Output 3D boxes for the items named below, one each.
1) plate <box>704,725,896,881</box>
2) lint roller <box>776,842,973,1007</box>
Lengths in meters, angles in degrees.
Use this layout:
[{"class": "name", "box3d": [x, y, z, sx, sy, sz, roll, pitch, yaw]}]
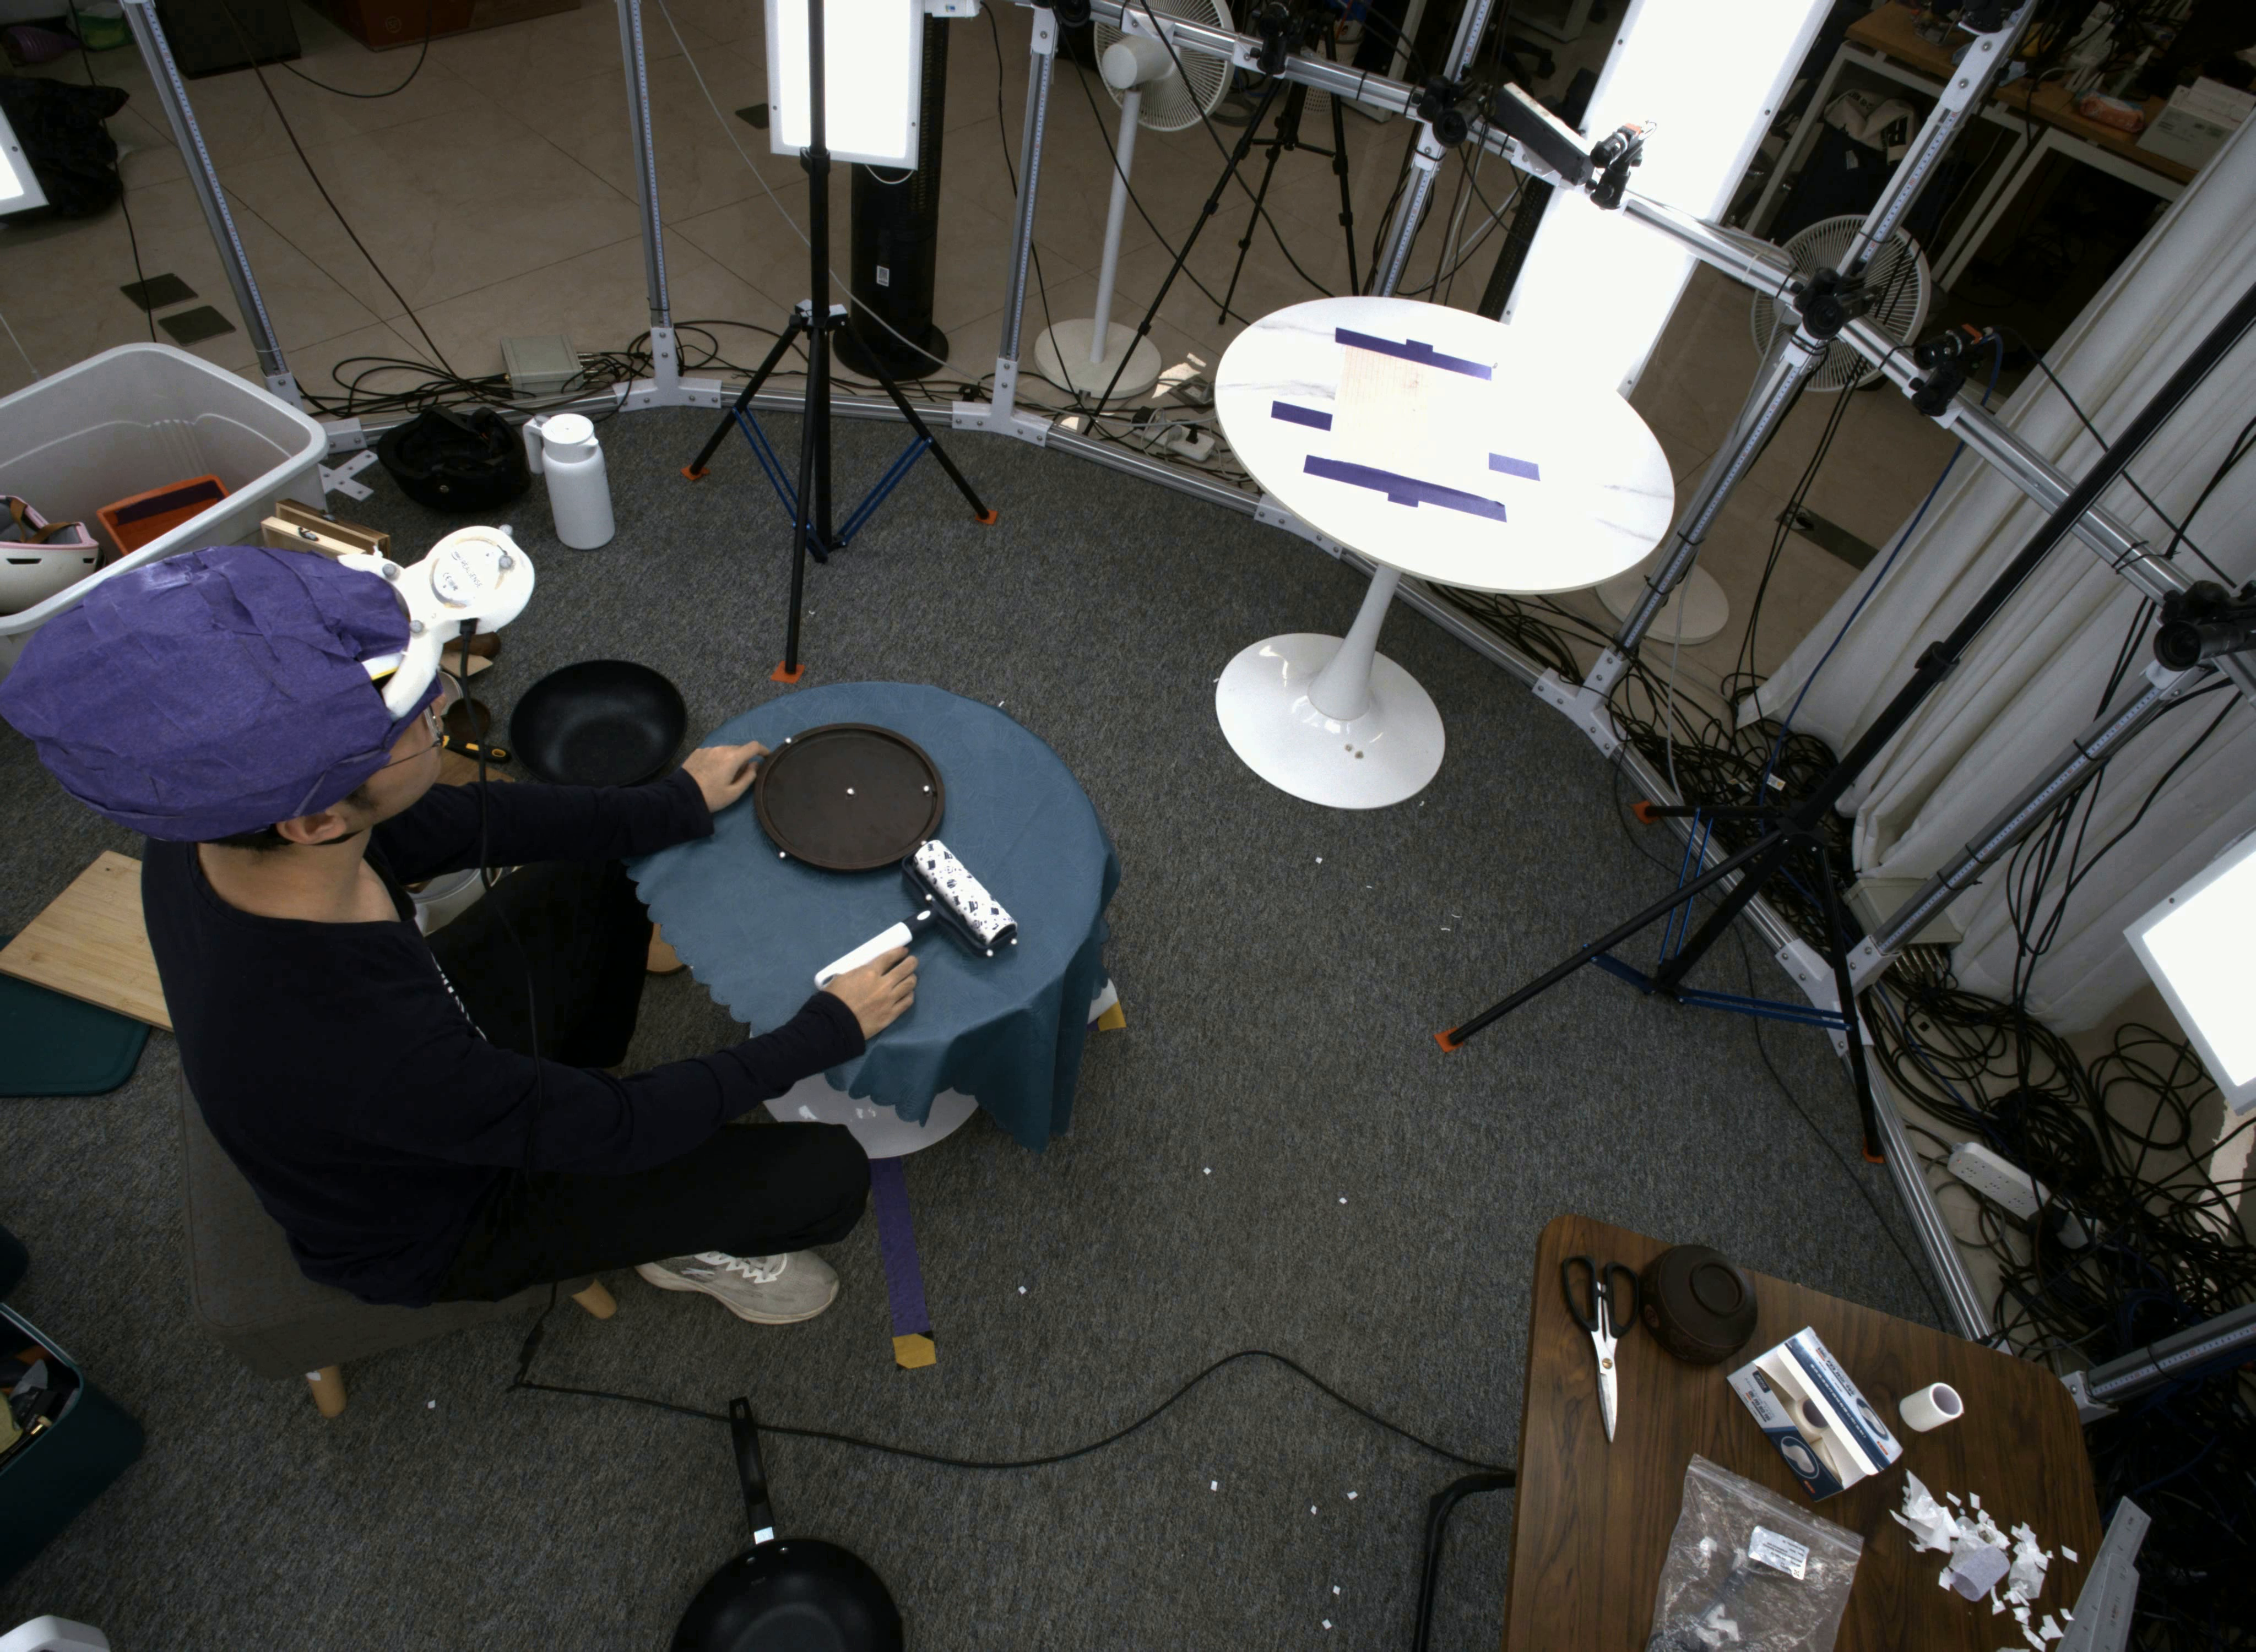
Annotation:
[{"class": "plate", "box3d": [-0.439, -0.033, 1.742, 0.254, 0.029, 0.250, 7, 54, -7]}, {"class": "lint roller", "box3d": [-0.337, 0.140, 1.628, 0.172, 0.051, 0.247, 42, 59, 16]}]
